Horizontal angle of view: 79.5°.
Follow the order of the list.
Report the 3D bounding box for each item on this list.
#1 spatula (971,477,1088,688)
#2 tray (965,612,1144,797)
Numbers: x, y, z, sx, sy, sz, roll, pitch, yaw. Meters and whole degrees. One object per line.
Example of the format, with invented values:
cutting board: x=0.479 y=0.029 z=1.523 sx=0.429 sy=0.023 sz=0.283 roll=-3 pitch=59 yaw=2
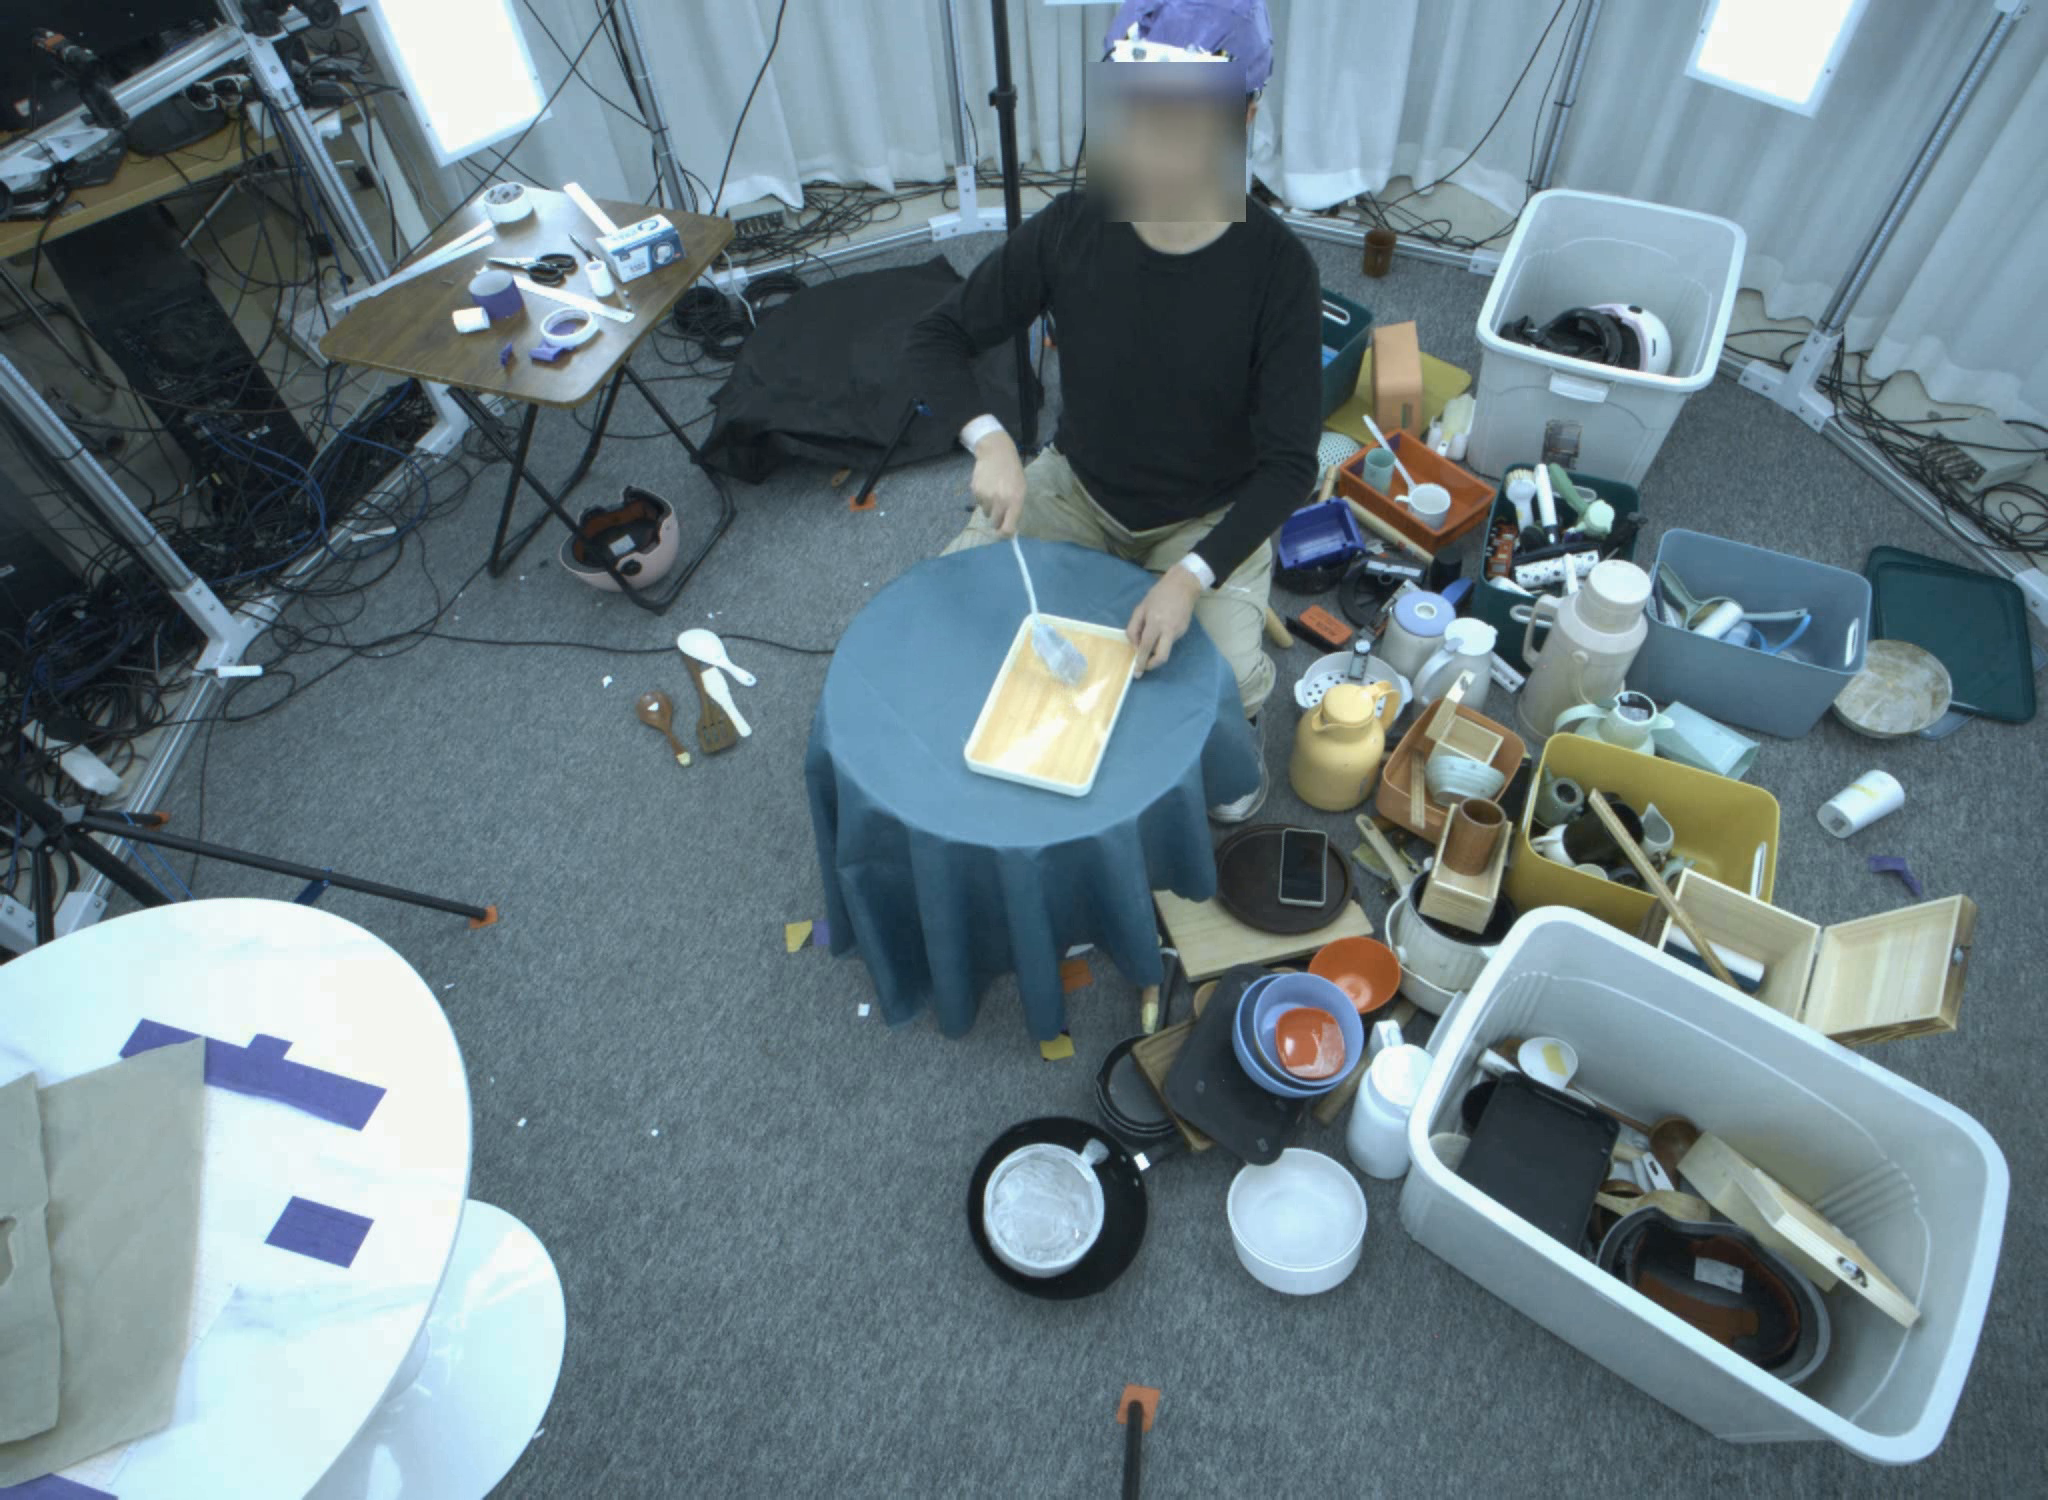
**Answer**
spatula: x=0.002 y=-0.261 z=1.829 sx=0.045 sy=0.098 sz=0.362 roll=-16 pitch=79 yaw=-23
tray: x=0.049 y=-0.073 z=1.820 sx=0.190 sy=0.028 sz=0.300 roll=14 pitch=57 yaw=13
